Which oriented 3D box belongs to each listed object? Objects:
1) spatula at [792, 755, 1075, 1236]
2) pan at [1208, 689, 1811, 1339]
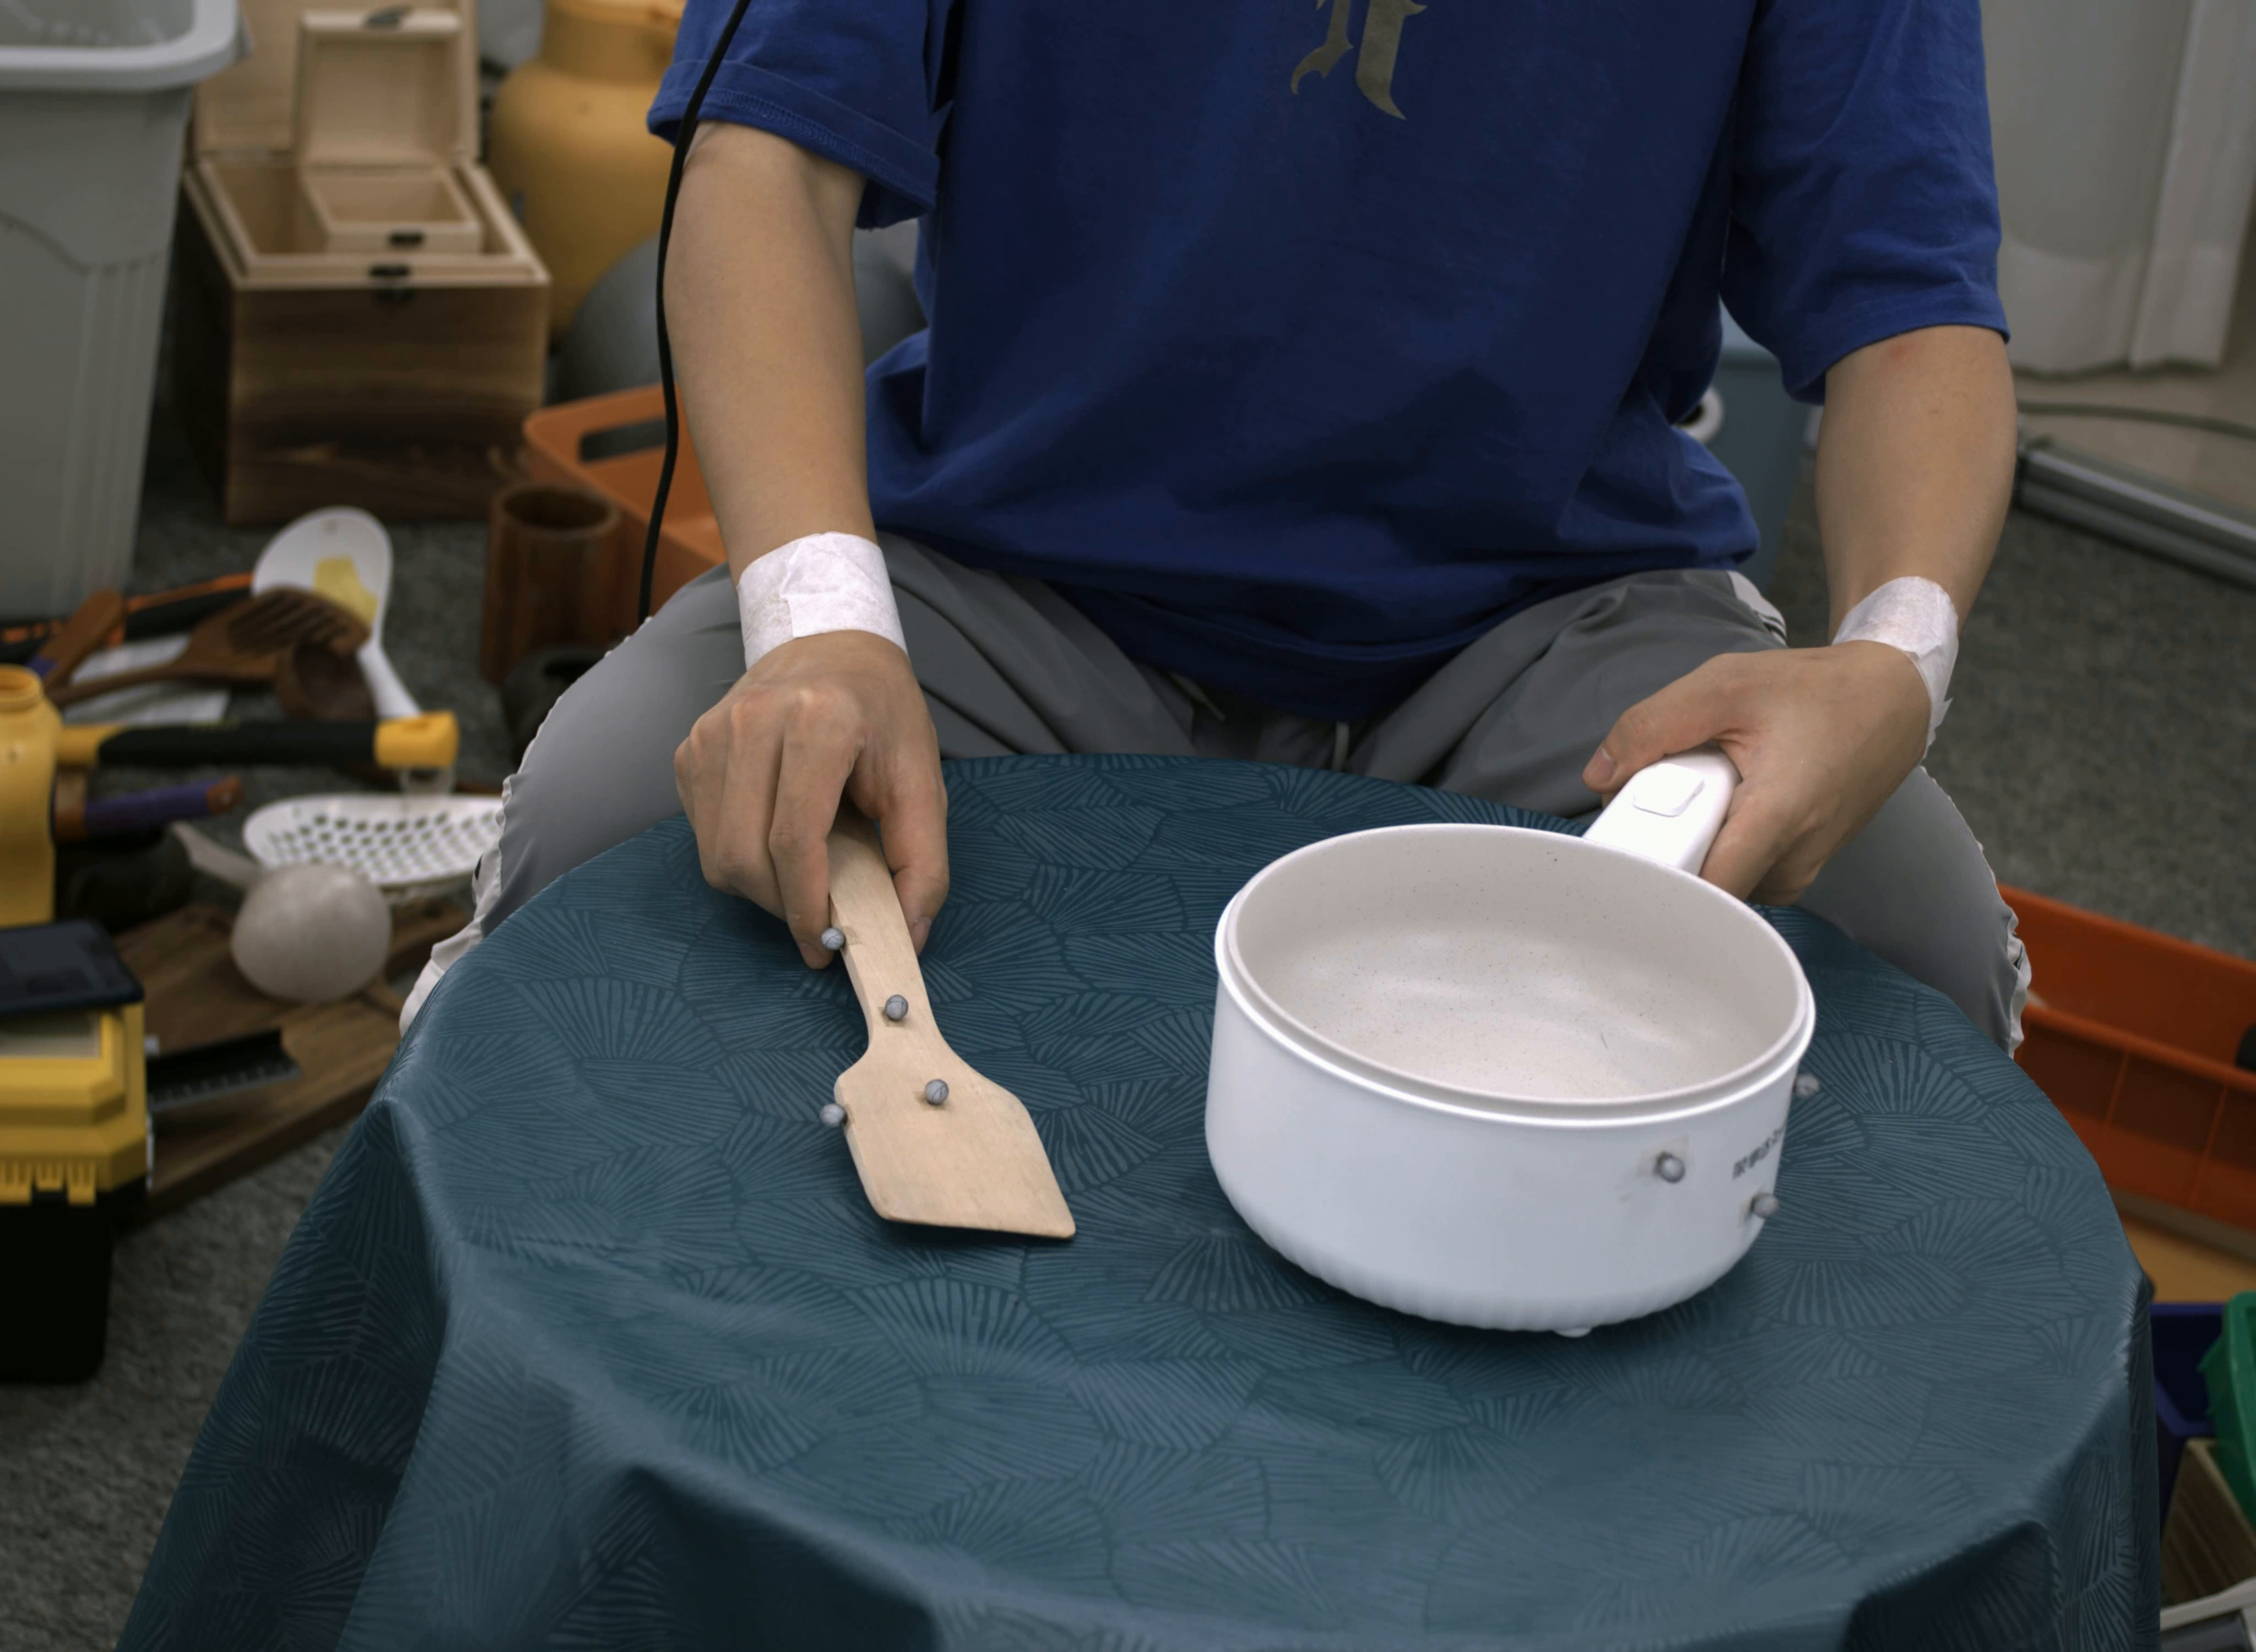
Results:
[{"bbox_3d":[-0.083,0.055,1.880,0.072,0.010,0.295,6,31,-19],"label":"spatula"},{"bbox_3d":[0.155,0.060,1.855,0.202,0.102,0.355,13,28,20],"label":"pan"}]
